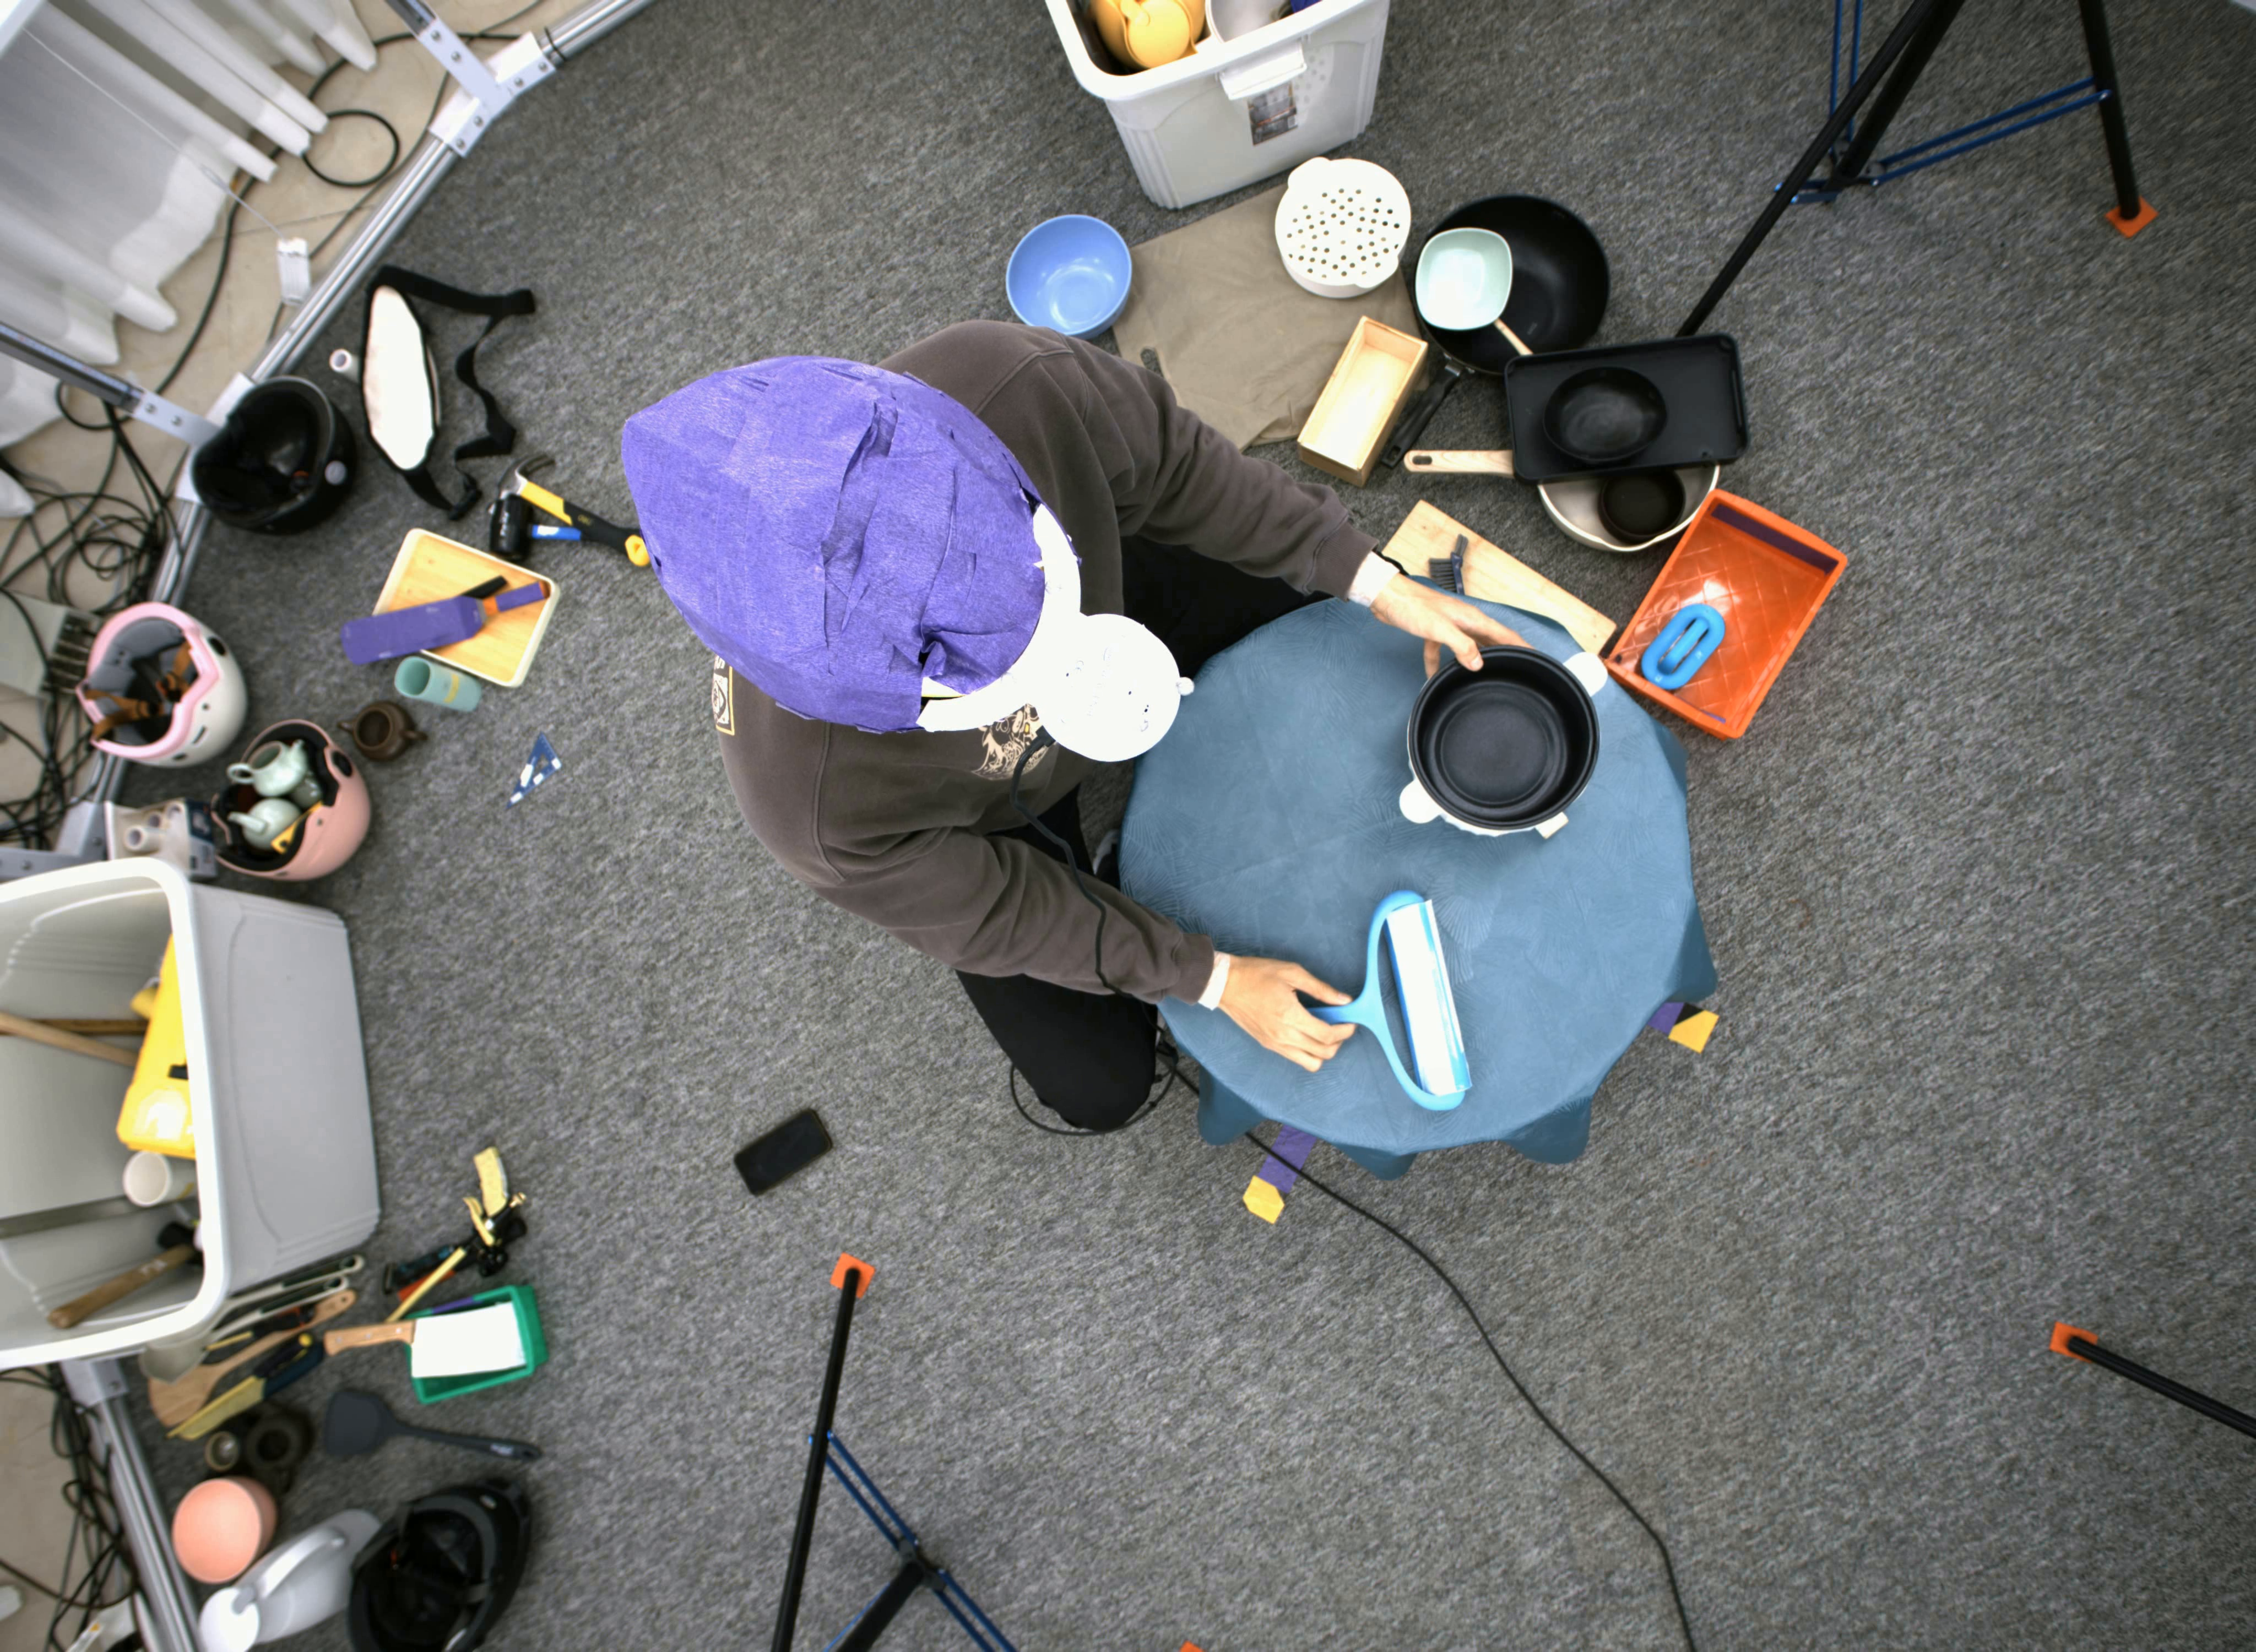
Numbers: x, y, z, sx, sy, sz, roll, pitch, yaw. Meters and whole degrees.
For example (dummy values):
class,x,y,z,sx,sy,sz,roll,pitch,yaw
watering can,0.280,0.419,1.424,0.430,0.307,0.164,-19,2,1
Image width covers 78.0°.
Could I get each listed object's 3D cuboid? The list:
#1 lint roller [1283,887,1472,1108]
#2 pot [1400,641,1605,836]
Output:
class,x,y,z,sx,sy,sz,roll,pitch,yaw
lint roller,0.249,0.188,1.427,0.181,0.068,0.228,-14,86,8
pot,0.375,-0.079,1.375,0.242,0.143,0.189,-40,77,7
